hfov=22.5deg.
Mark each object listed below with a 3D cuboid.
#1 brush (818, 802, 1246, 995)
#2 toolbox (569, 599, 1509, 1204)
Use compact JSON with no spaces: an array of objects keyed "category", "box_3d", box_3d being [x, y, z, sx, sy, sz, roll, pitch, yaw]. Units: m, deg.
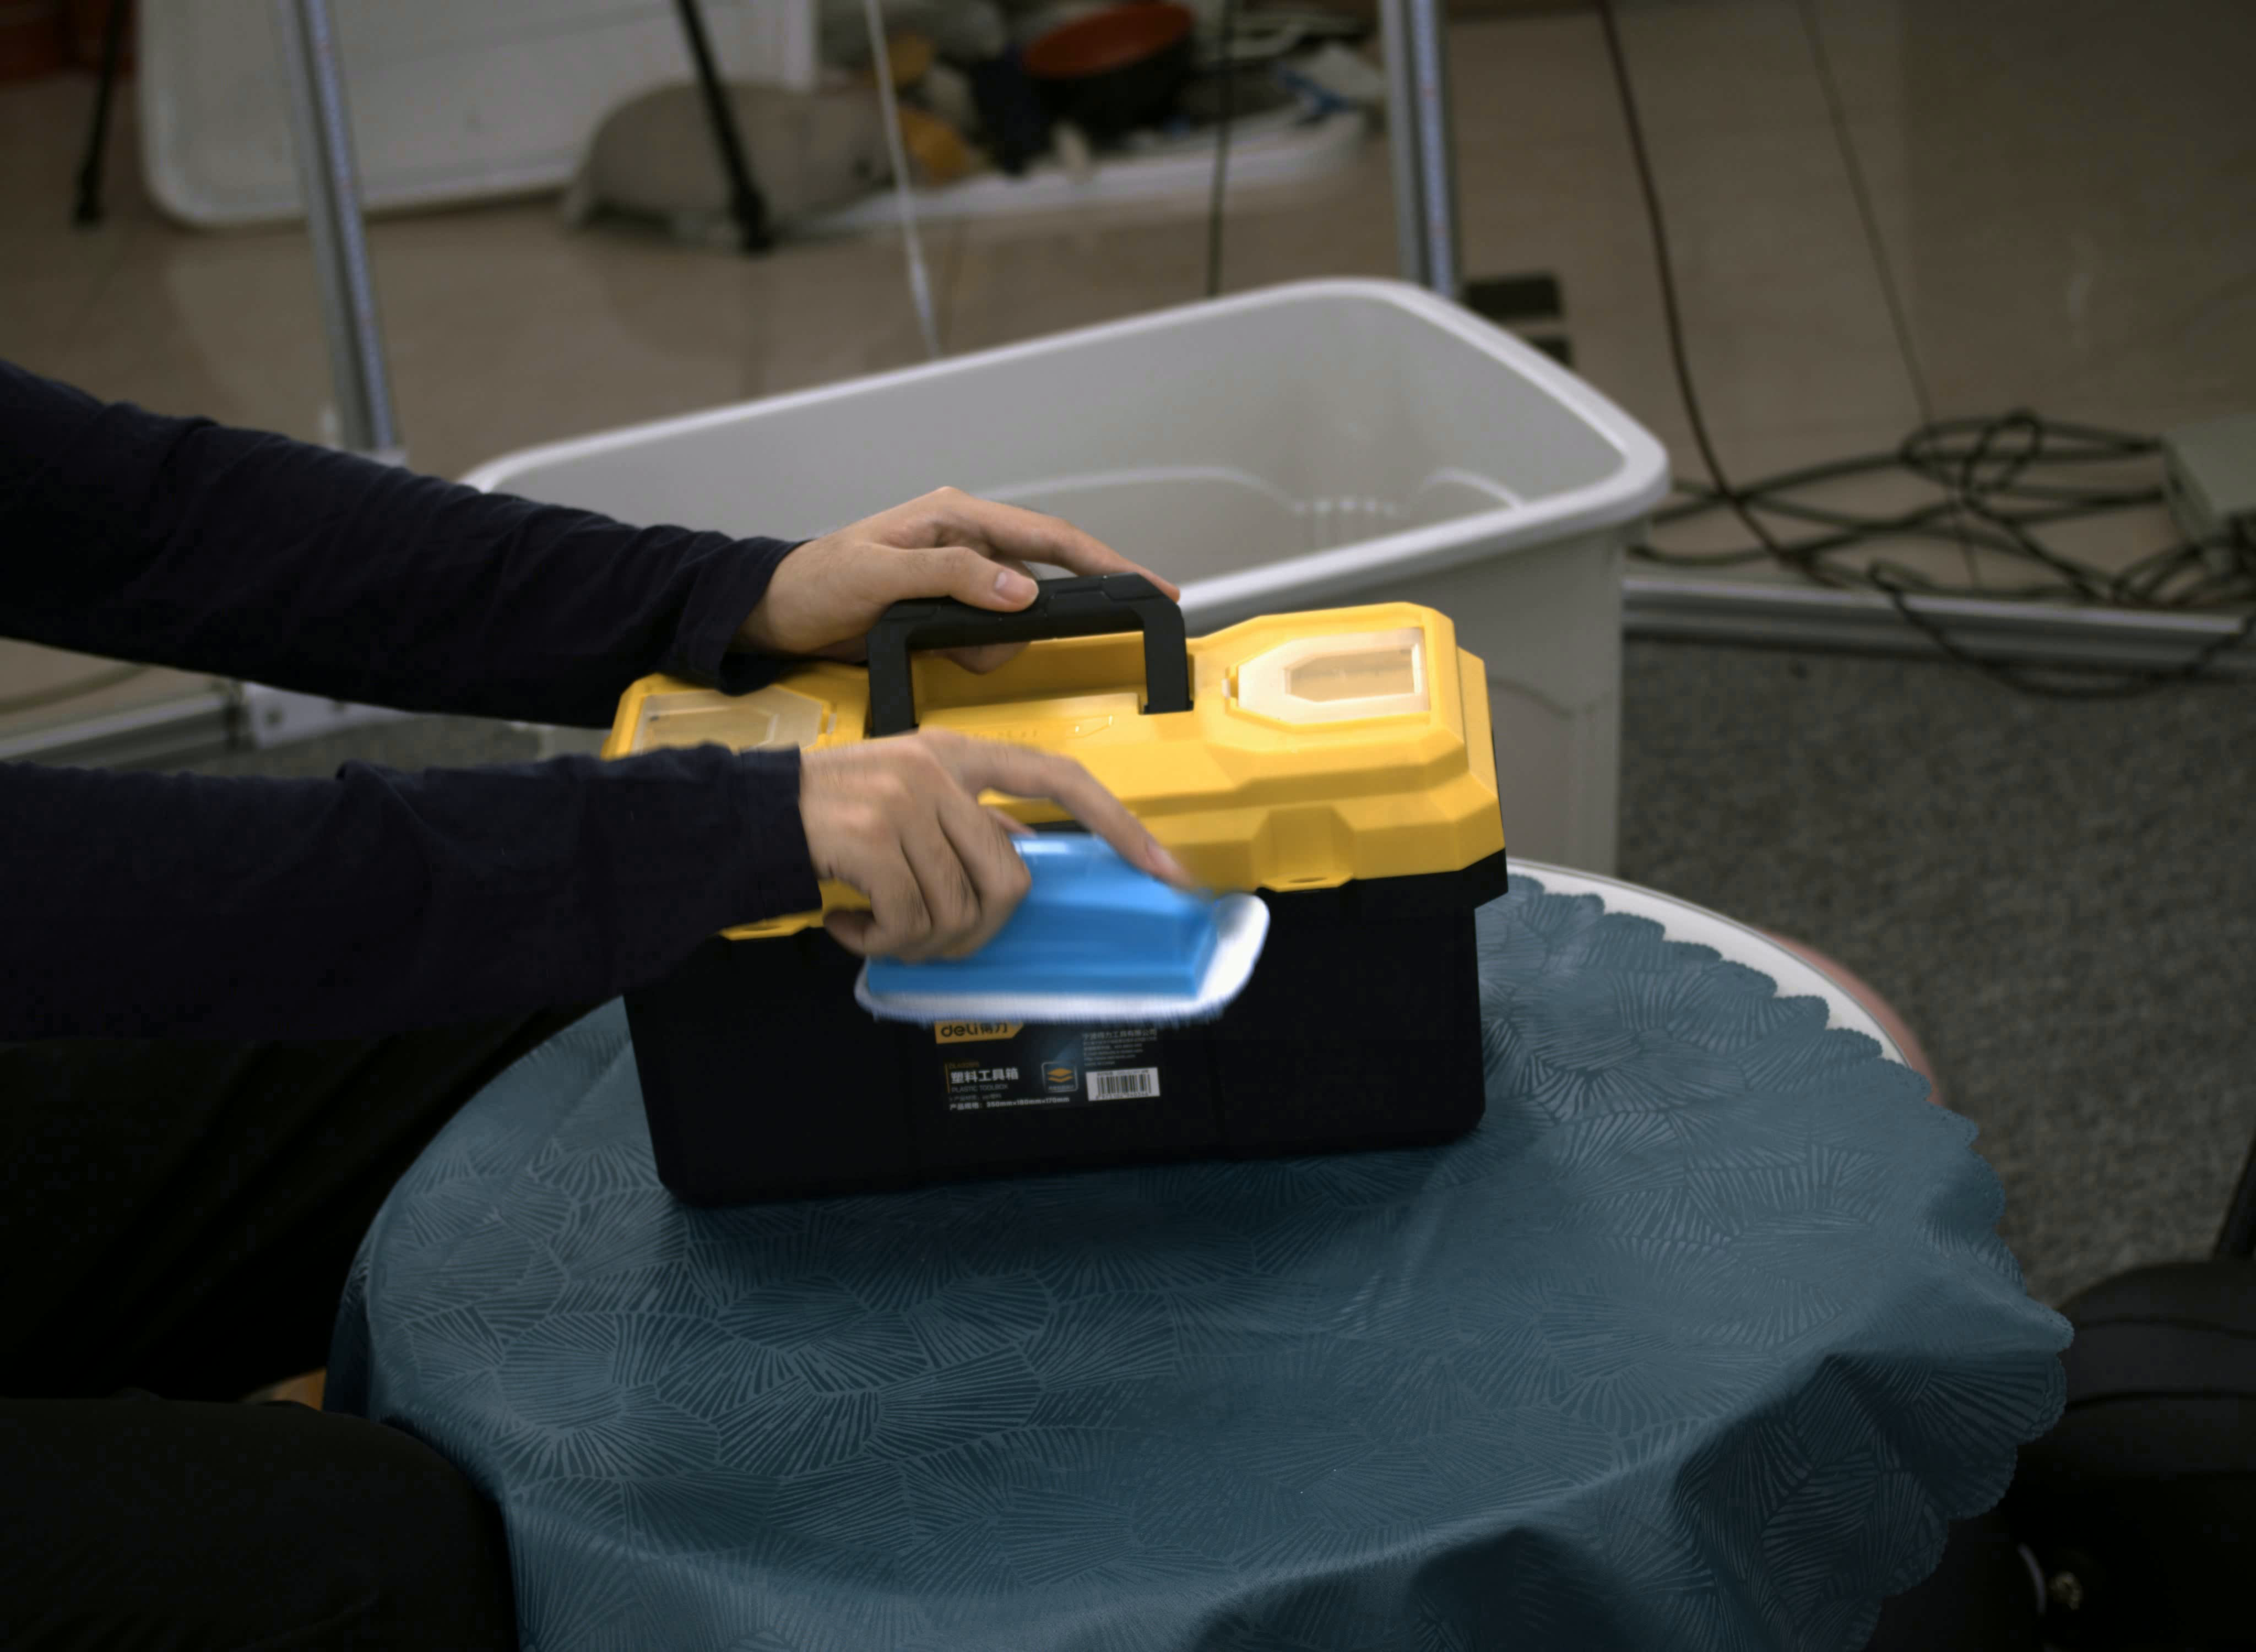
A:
[{"category":"brush","box_3d":[-0.034,0.024,1.987,0.143,0.057,0.082,4,29,17]},{"category":"toolbox","box_3d":[-0.029,0.031,2.178,0.351,0.175,0.178,-5,25,3]}]
